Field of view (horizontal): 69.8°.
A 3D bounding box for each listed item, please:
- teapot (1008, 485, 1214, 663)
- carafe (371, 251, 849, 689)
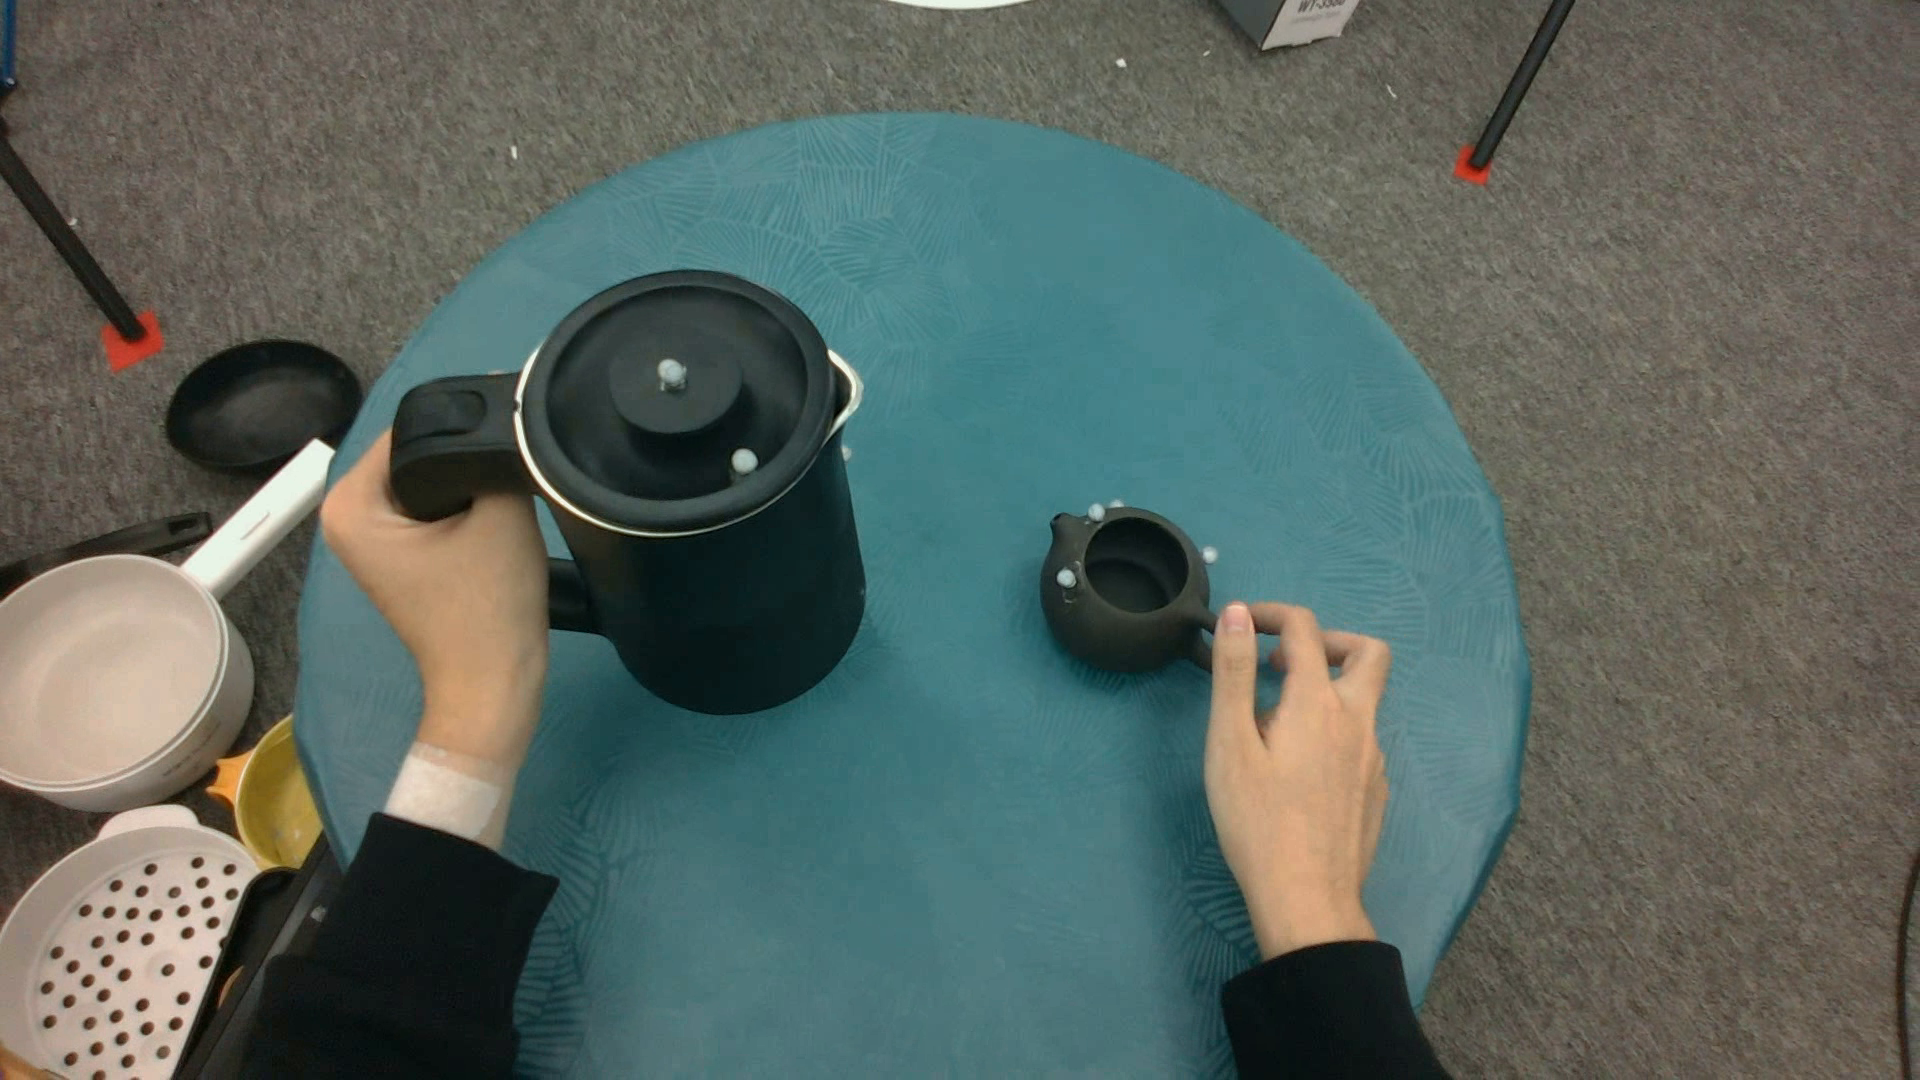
[{"bbox_3d":[0.074,0.020,0.659,0.114,0.053,0.083,38,65,17],"label":"teapot"},{"bbox_3d":[-0.129,-0.021,0.533,0.172,0.172,0.115,-4,64,-7],"label":"carafe"}]
